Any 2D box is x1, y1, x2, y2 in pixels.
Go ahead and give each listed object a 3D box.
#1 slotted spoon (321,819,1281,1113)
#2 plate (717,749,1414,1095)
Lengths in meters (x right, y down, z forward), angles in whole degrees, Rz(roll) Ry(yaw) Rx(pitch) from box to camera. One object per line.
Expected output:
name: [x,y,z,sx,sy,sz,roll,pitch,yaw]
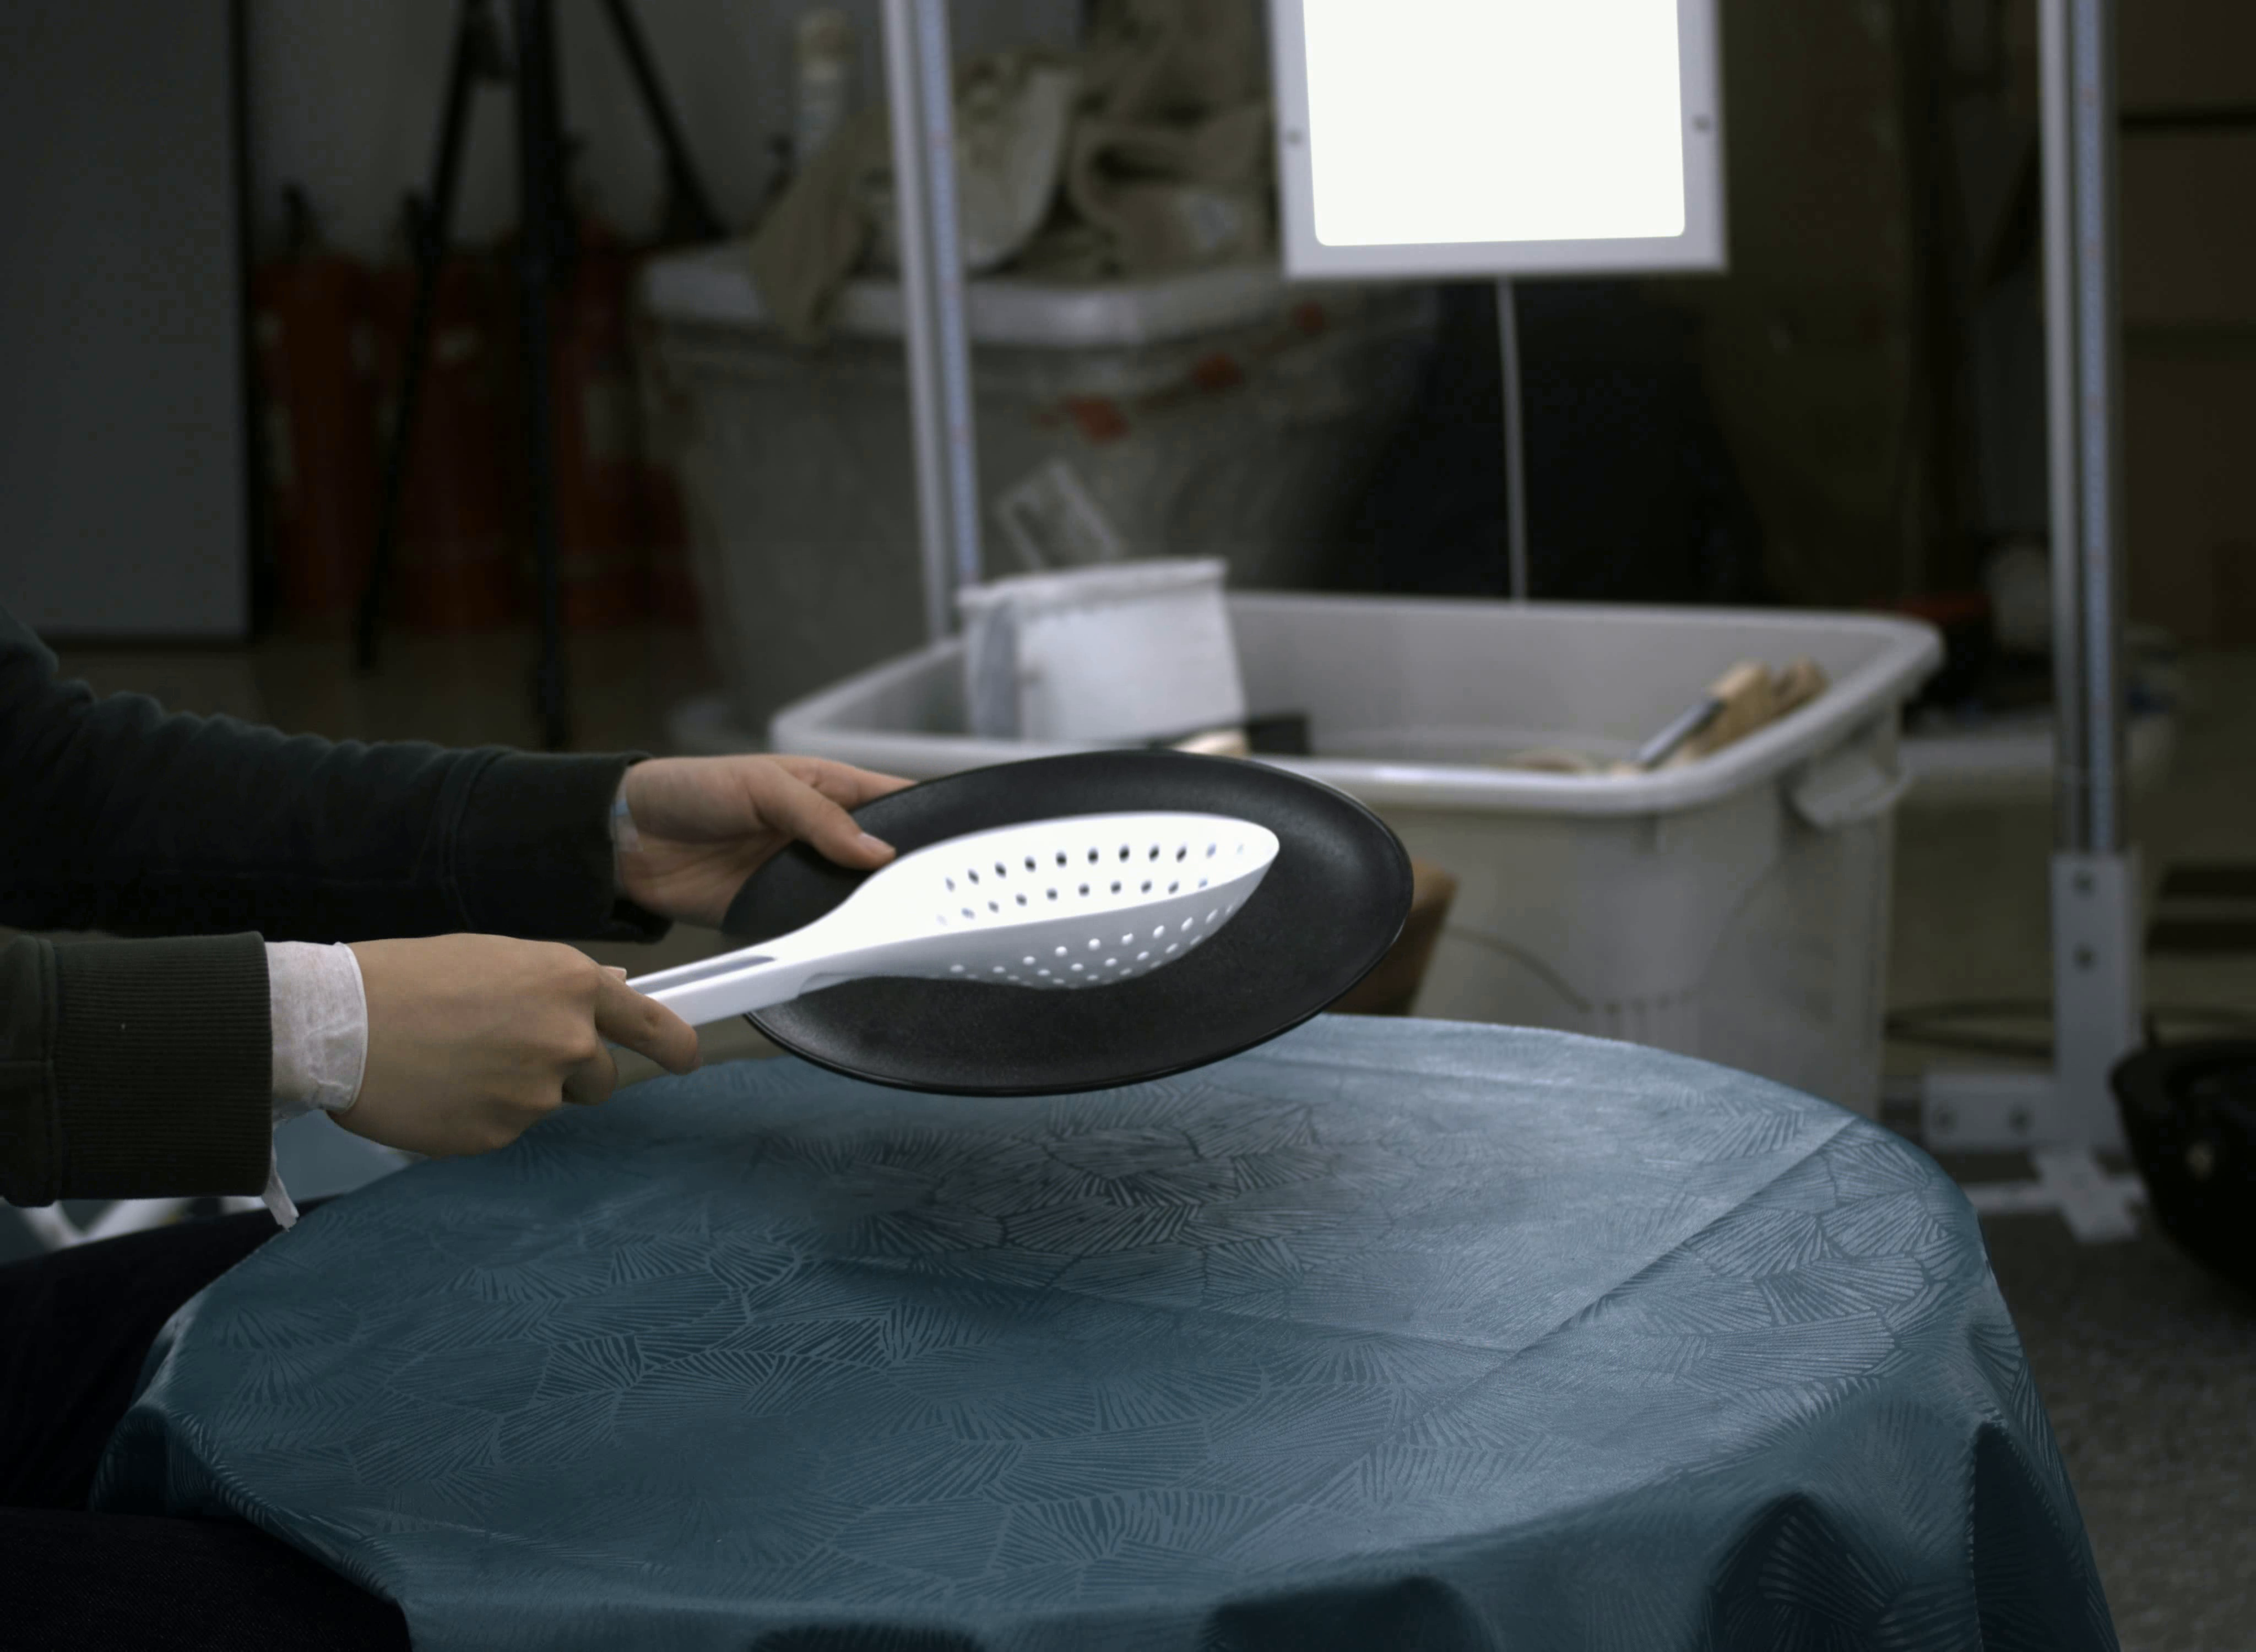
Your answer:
slotted spoon: [-0.101,0.043,1.766,0.341,0.046,0.139,-9,9,-34]
plate: [-0.021,0.037,1.906,0.244,0.023,0.244,-7,27,2]
